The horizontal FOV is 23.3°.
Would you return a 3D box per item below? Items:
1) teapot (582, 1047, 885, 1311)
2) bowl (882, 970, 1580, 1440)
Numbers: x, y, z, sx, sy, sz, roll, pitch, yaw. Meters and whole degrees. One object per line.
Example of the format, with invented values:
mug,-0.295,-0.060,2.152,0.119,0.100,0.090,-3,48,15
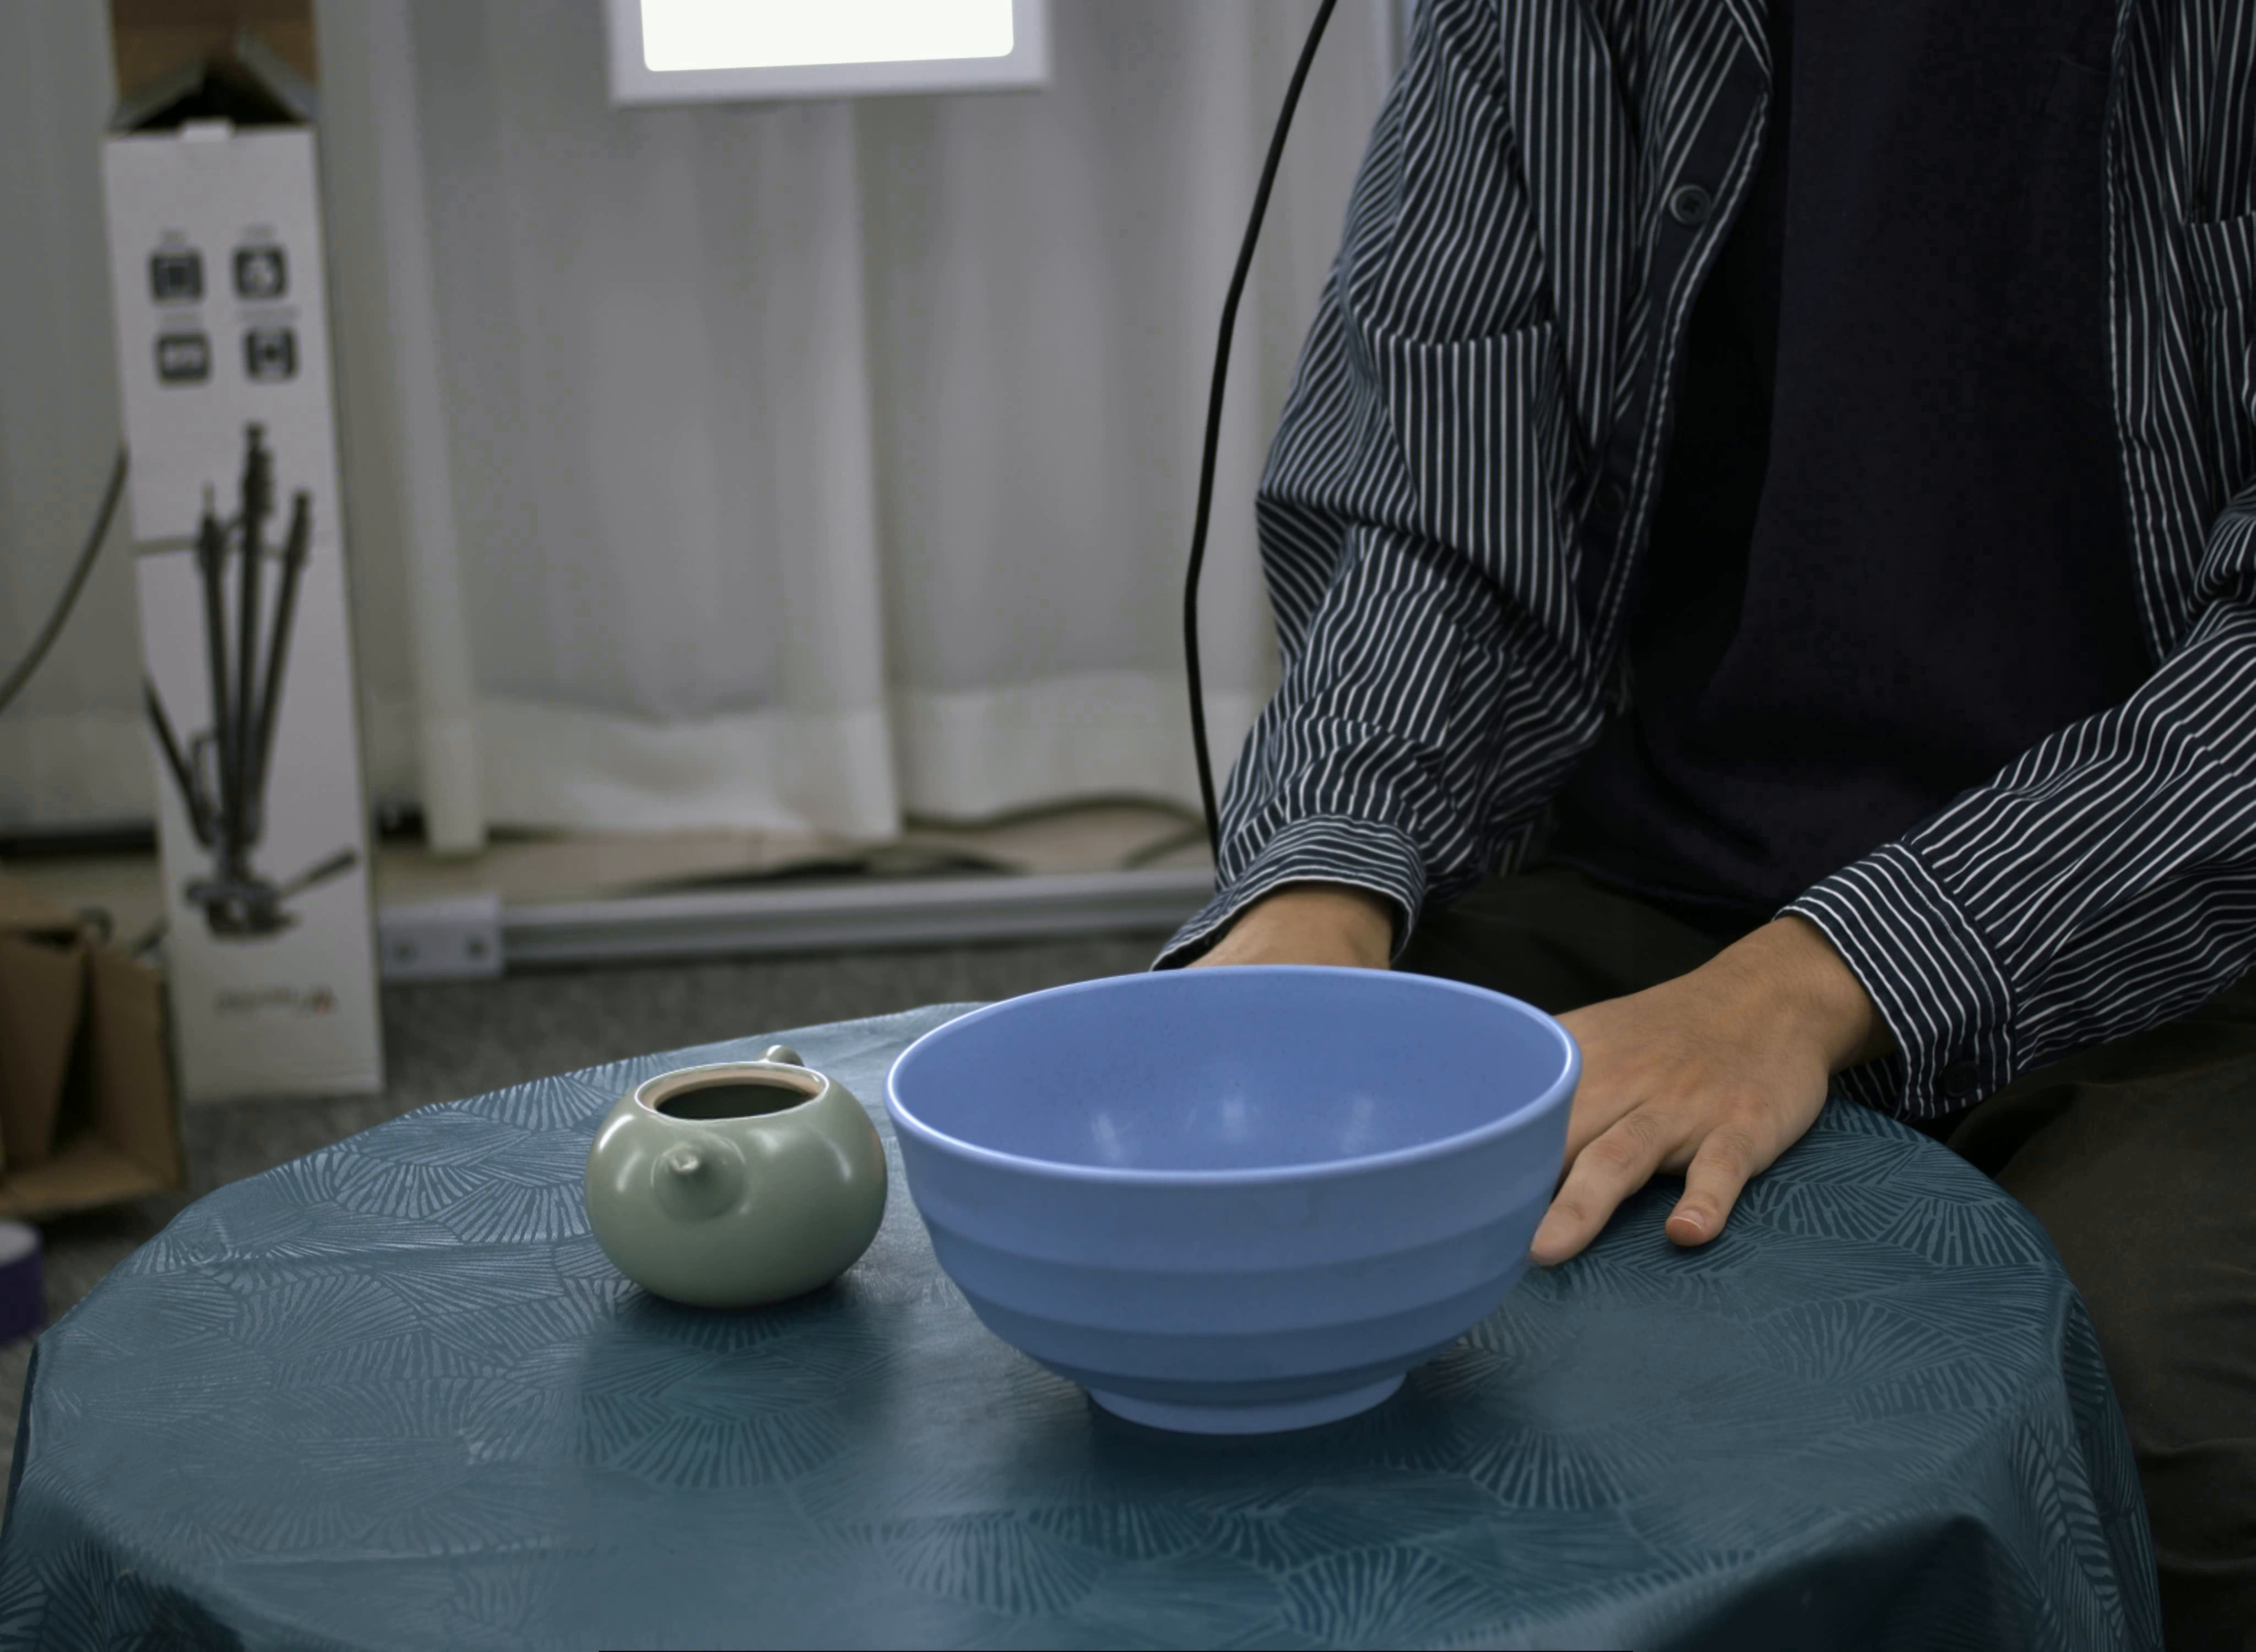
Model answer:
teapot,-0.116,0.107,1.657,0.091,0.061,0.129,-1,14,17
bowl,0.031,0.112,1.540,0.196,0.095,0.198,-4,14,1
